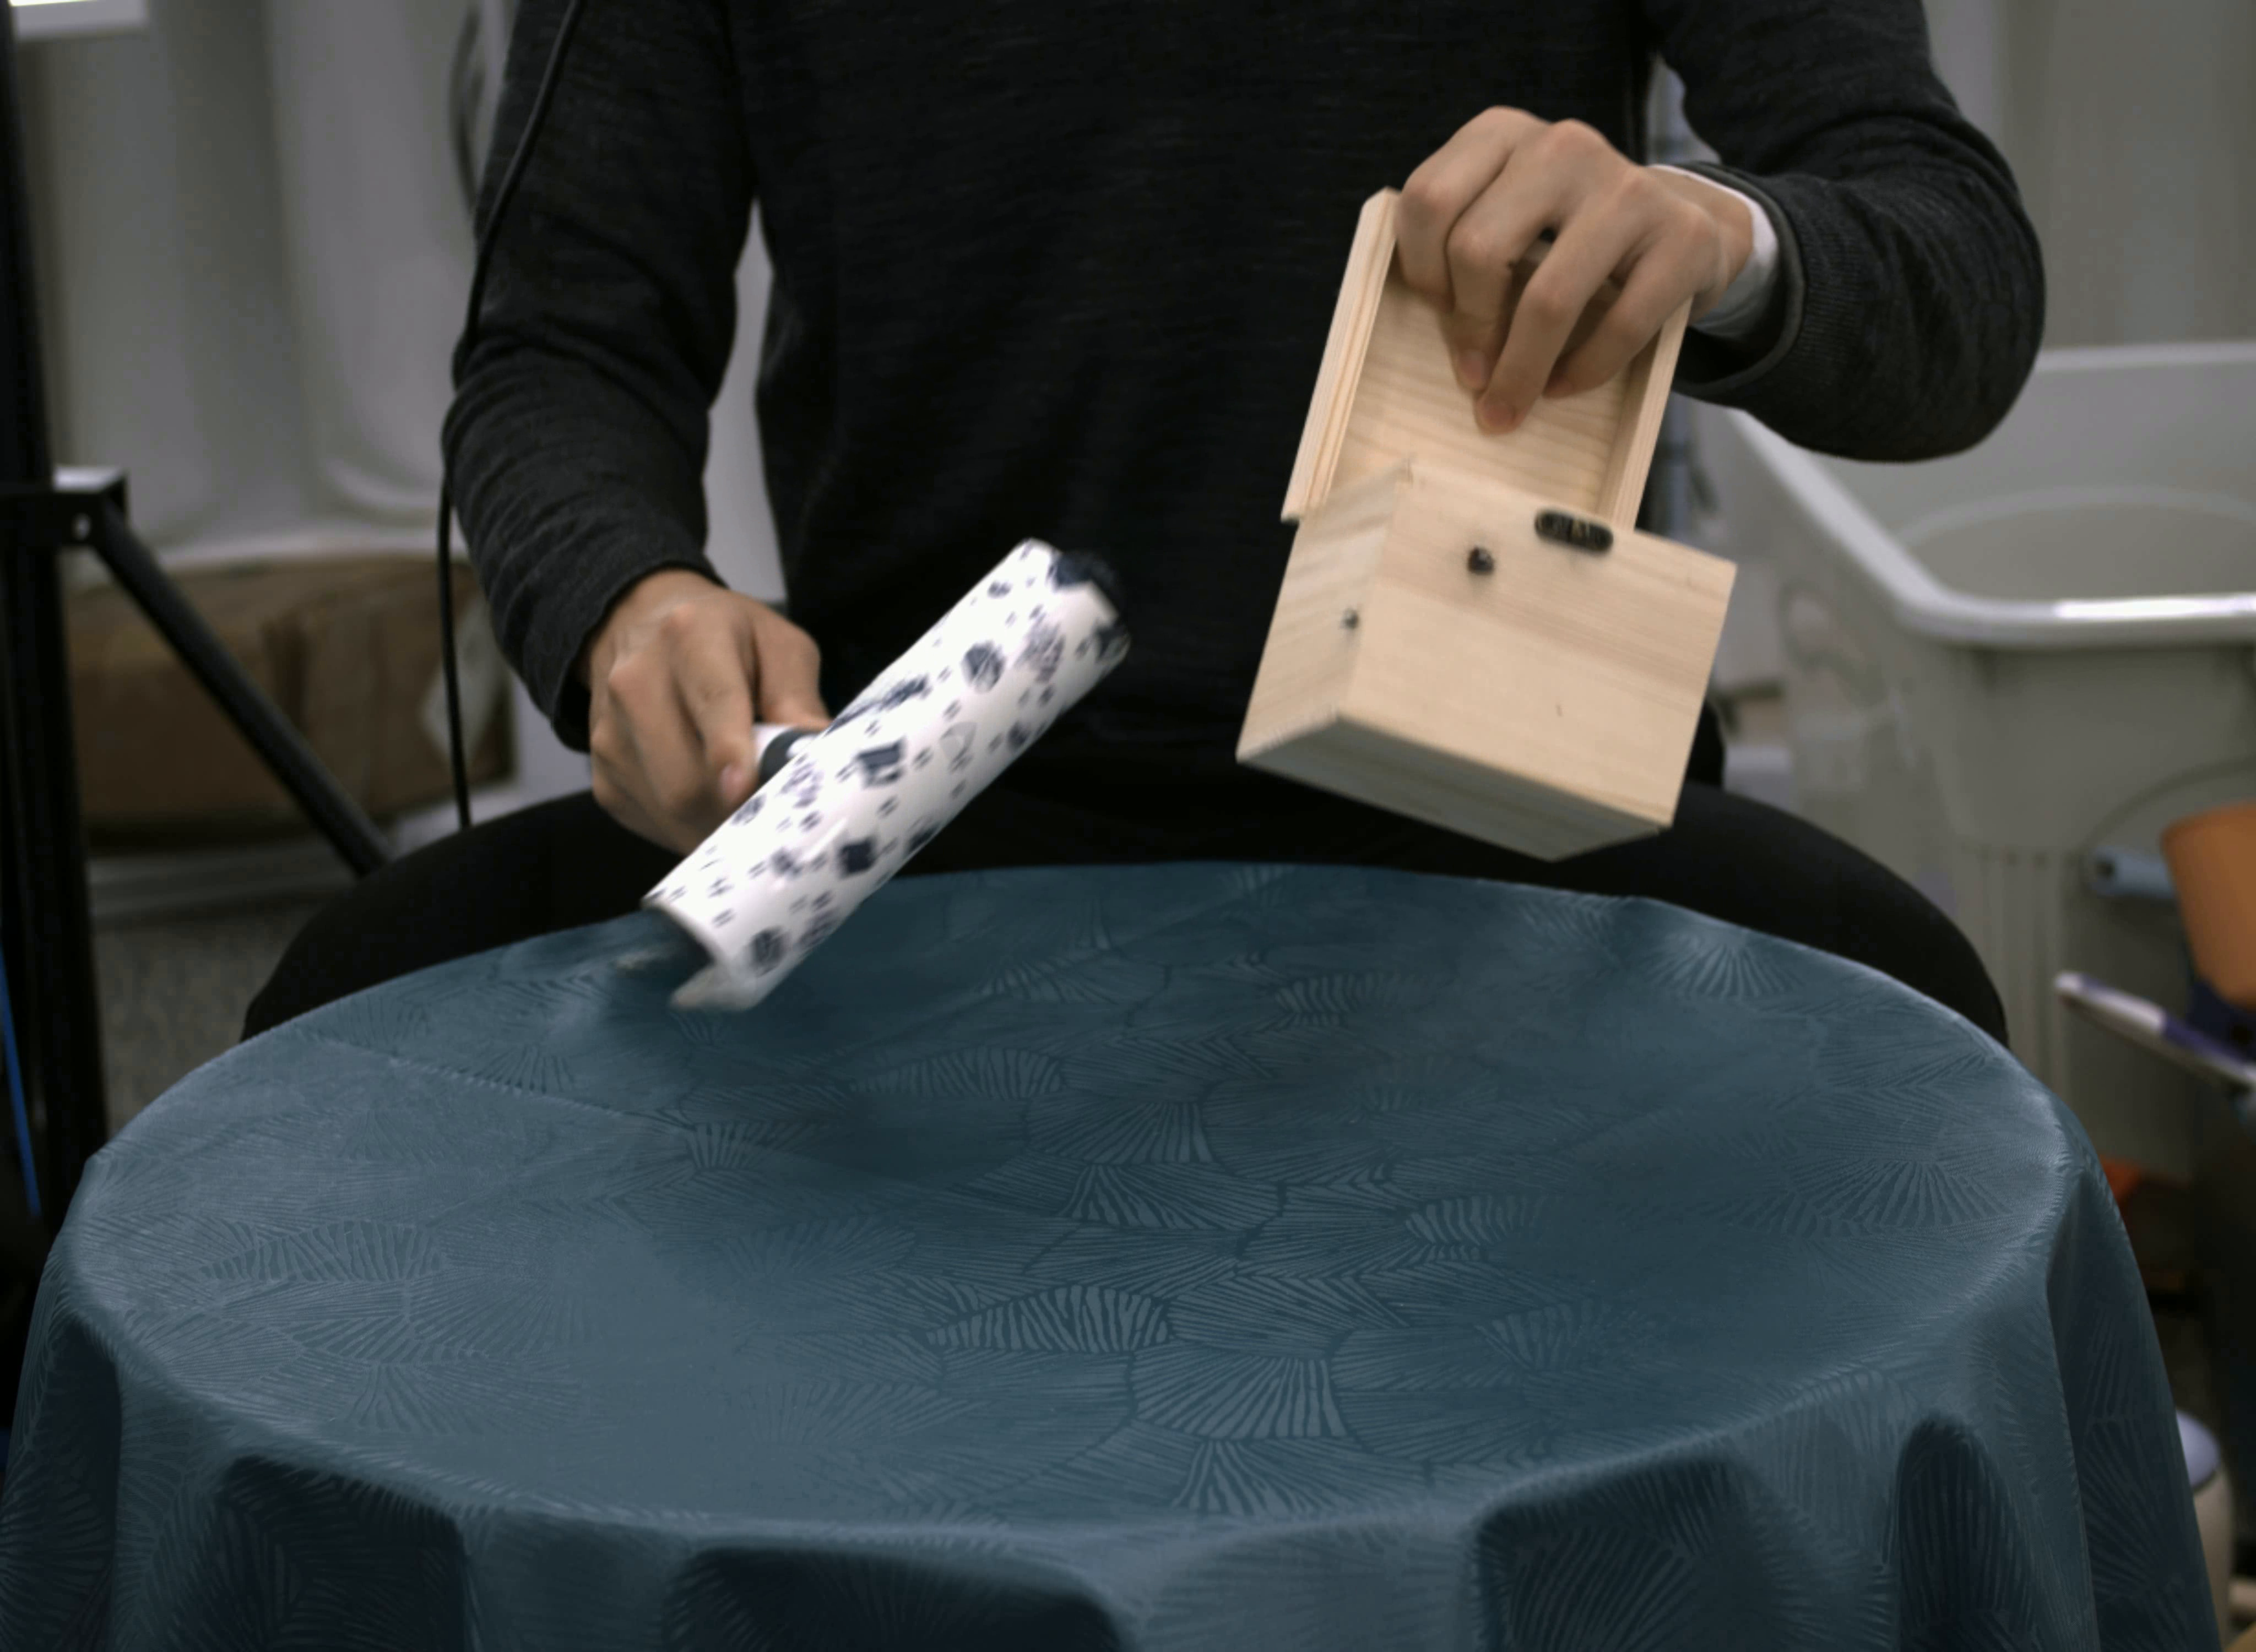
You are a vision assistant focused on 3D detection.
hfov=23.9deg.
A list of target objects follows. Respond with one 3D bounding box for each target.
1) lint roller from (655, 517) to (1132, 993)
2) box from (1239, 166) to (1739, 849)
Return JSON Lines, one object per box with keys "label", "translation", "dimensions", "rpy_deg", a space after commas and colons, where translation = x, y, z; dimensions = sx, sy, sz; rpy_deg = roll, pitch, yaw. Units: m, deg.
{"label": "lint roller", "translation": [-0.107, -0.023, 1.695], "dimensions": [0.175, 0.050, 0.251], "rpy_deg": [-47, 17, -15]}
{"label": "box", "translation": [0.113, -0.100, 1.523], "dimensions": [0.101, 0.185, 0.135], "rpy_deg": [19, -11, -11]}
